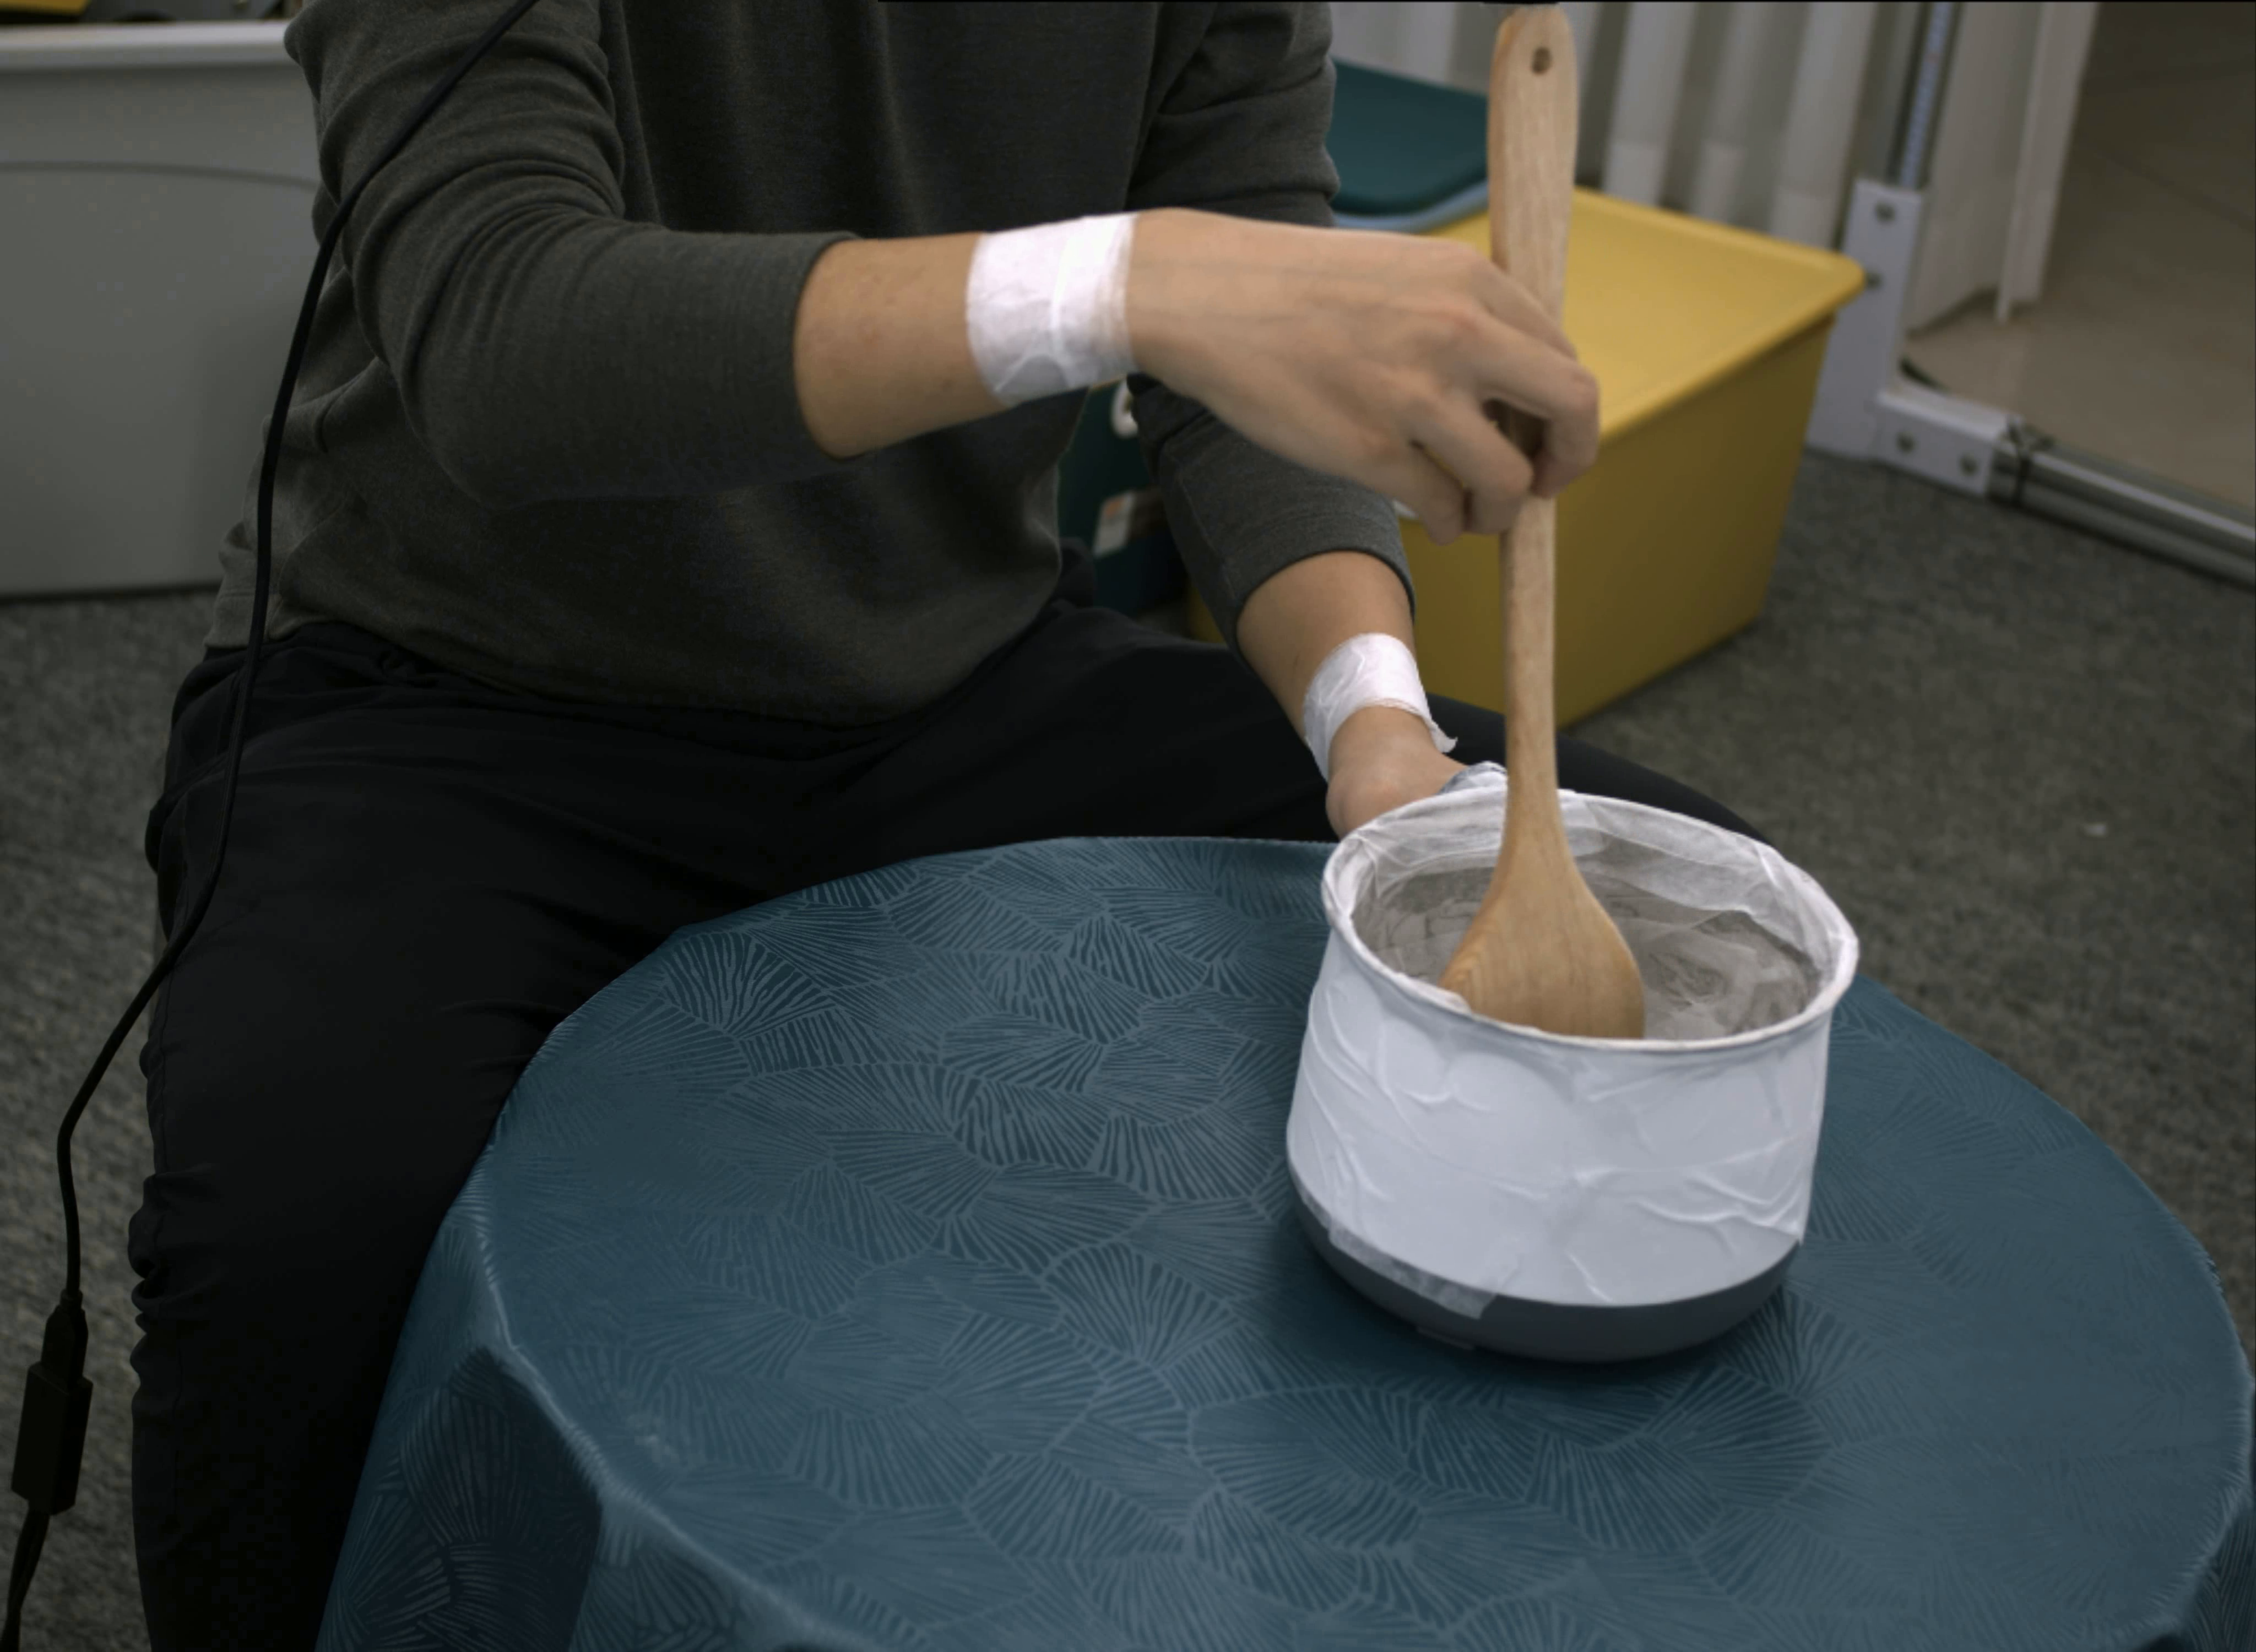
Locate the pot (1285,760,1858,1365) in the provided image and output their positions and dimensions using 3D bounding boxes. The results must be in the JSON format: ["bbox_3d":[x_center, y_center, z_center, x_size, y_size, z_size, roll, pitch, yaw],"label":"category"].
[{"bbox_3d":[0.135,0.072,1.788,0.177,0.136,0.236,-2,28,-18],"label":"pot"}]

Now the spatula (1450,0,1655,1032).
[{"bbox_3d":[0.132,-0.073,1.691,0.095,0.390,0.018,-13,19,-35],"label":"spatula"}]
